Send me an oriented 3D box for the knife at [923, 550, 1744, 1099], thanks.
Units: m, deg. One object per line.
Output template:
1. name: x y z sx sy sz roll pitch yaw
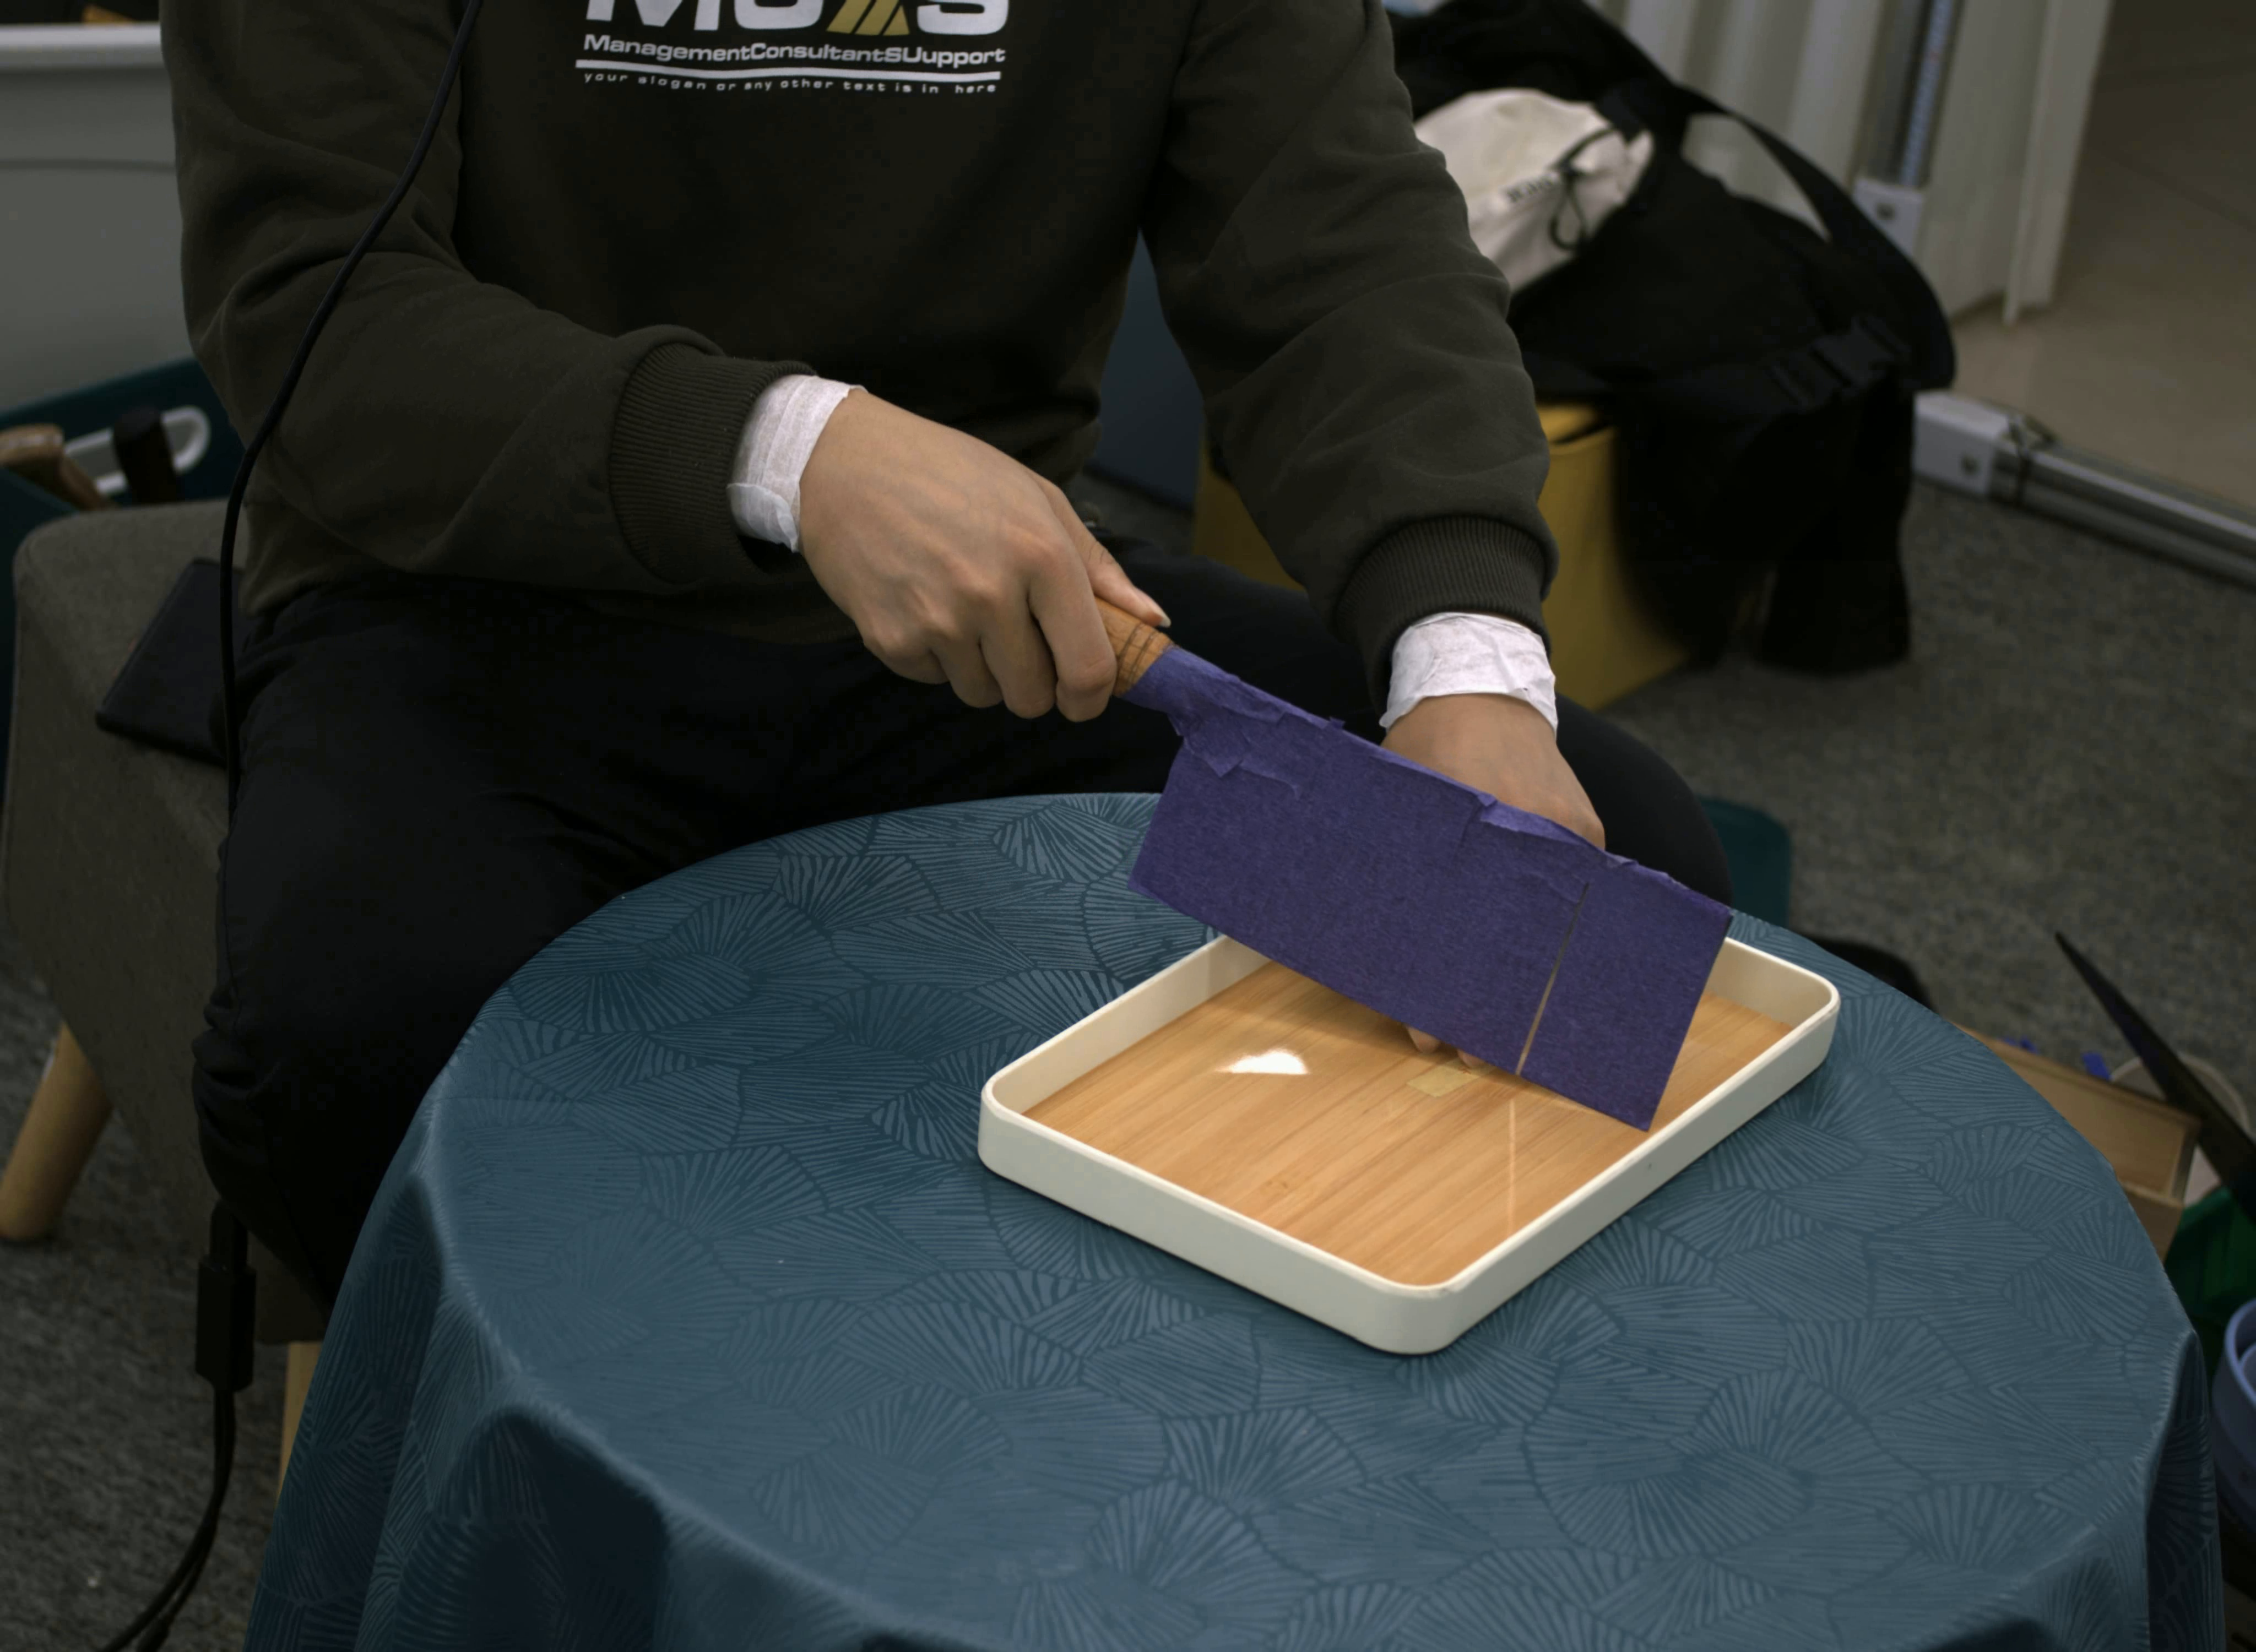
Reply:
1. knife: 0.059 0.003 1.885 0.316 0.104 0.032 25 18 15

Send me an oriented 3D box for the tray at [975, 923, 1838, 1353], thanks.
1. tray: 0.102 0.085 1.873 0.192 0.027 0.299 23 31 28
